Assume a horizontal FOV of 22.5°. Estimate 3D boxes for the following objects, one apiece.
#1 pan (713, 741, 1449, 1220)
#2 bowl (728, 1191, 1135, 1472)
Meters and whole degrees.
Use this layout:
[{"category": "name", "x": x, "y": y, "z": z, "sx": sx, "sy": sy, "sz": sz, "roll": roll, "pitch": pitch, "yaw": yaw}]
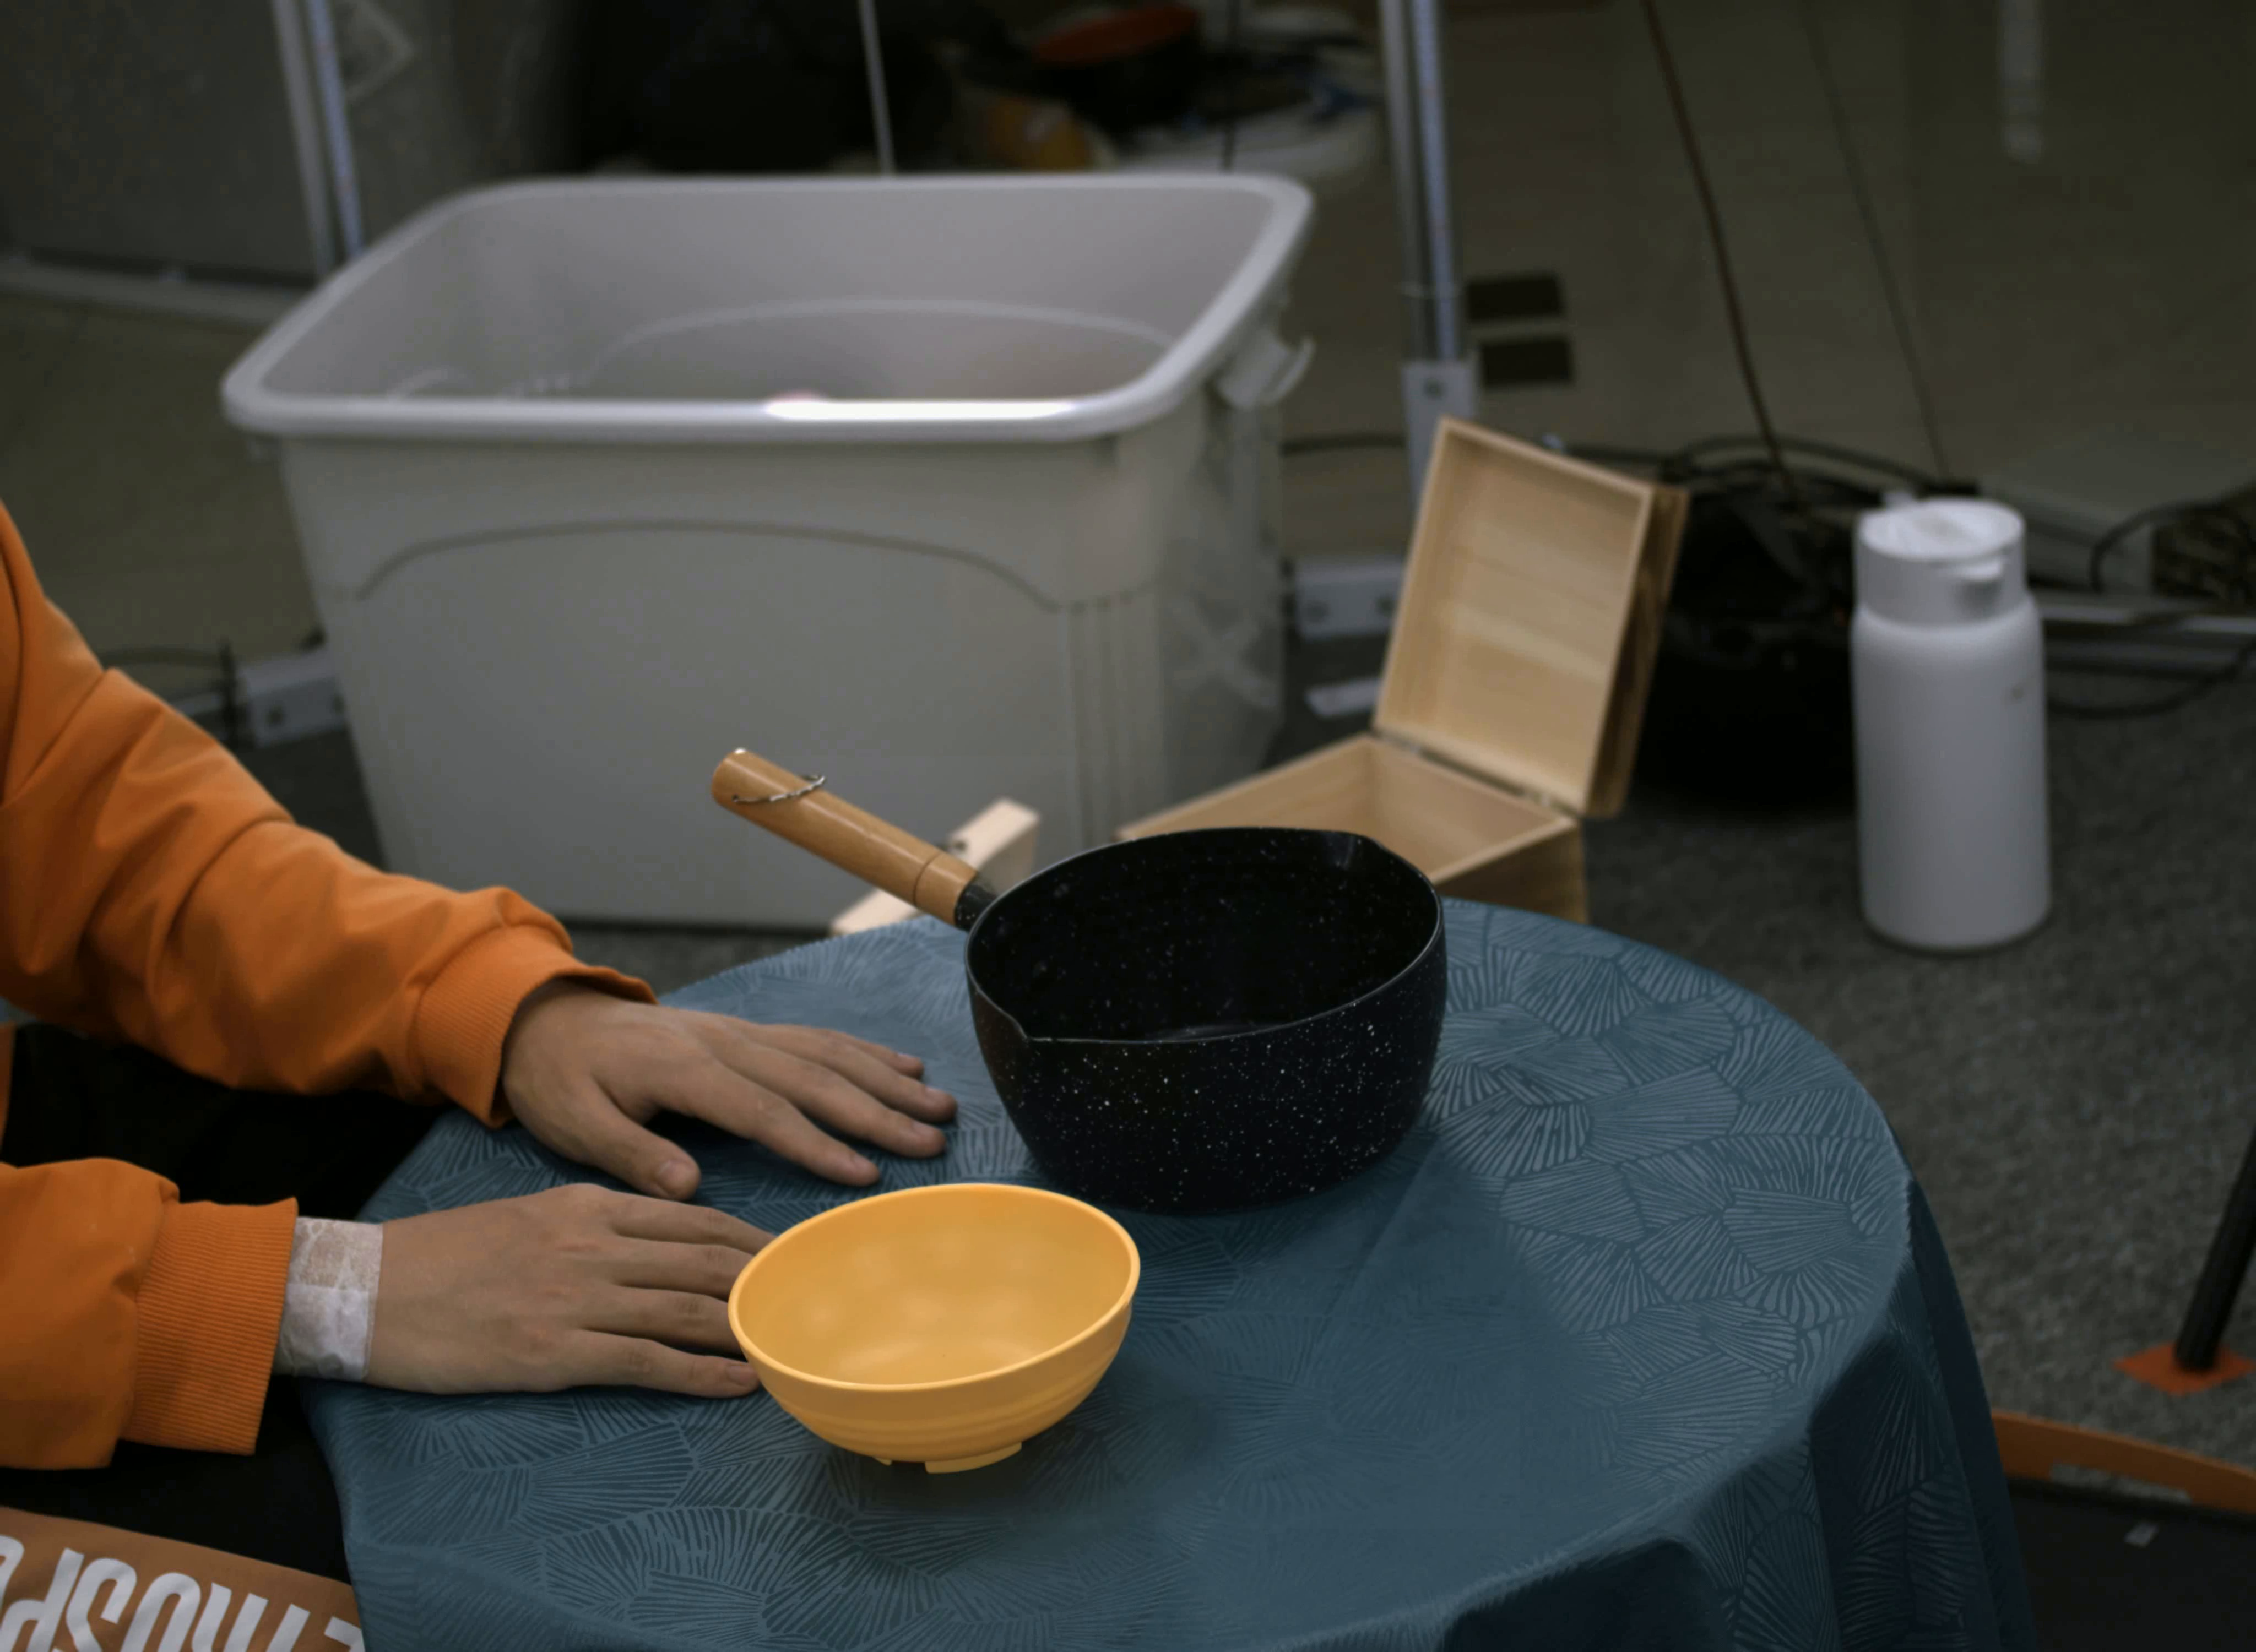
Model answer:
[{"category": "pan", "x": -0.030, "y": 0.051, "z": 2.212, "sx": 0.340, "sy": 0.110, "sz": 0.205, "roll": 15, "pitch": 34, "yaw": 36}, {"category": "bowl", "x": -0.066, "y": 0.186, "z": 1.993, "sx": 0.145, "sy": 0.061, "sz": 0.143, "roll": -5, "pitch": 24, "yaw": 2}]
